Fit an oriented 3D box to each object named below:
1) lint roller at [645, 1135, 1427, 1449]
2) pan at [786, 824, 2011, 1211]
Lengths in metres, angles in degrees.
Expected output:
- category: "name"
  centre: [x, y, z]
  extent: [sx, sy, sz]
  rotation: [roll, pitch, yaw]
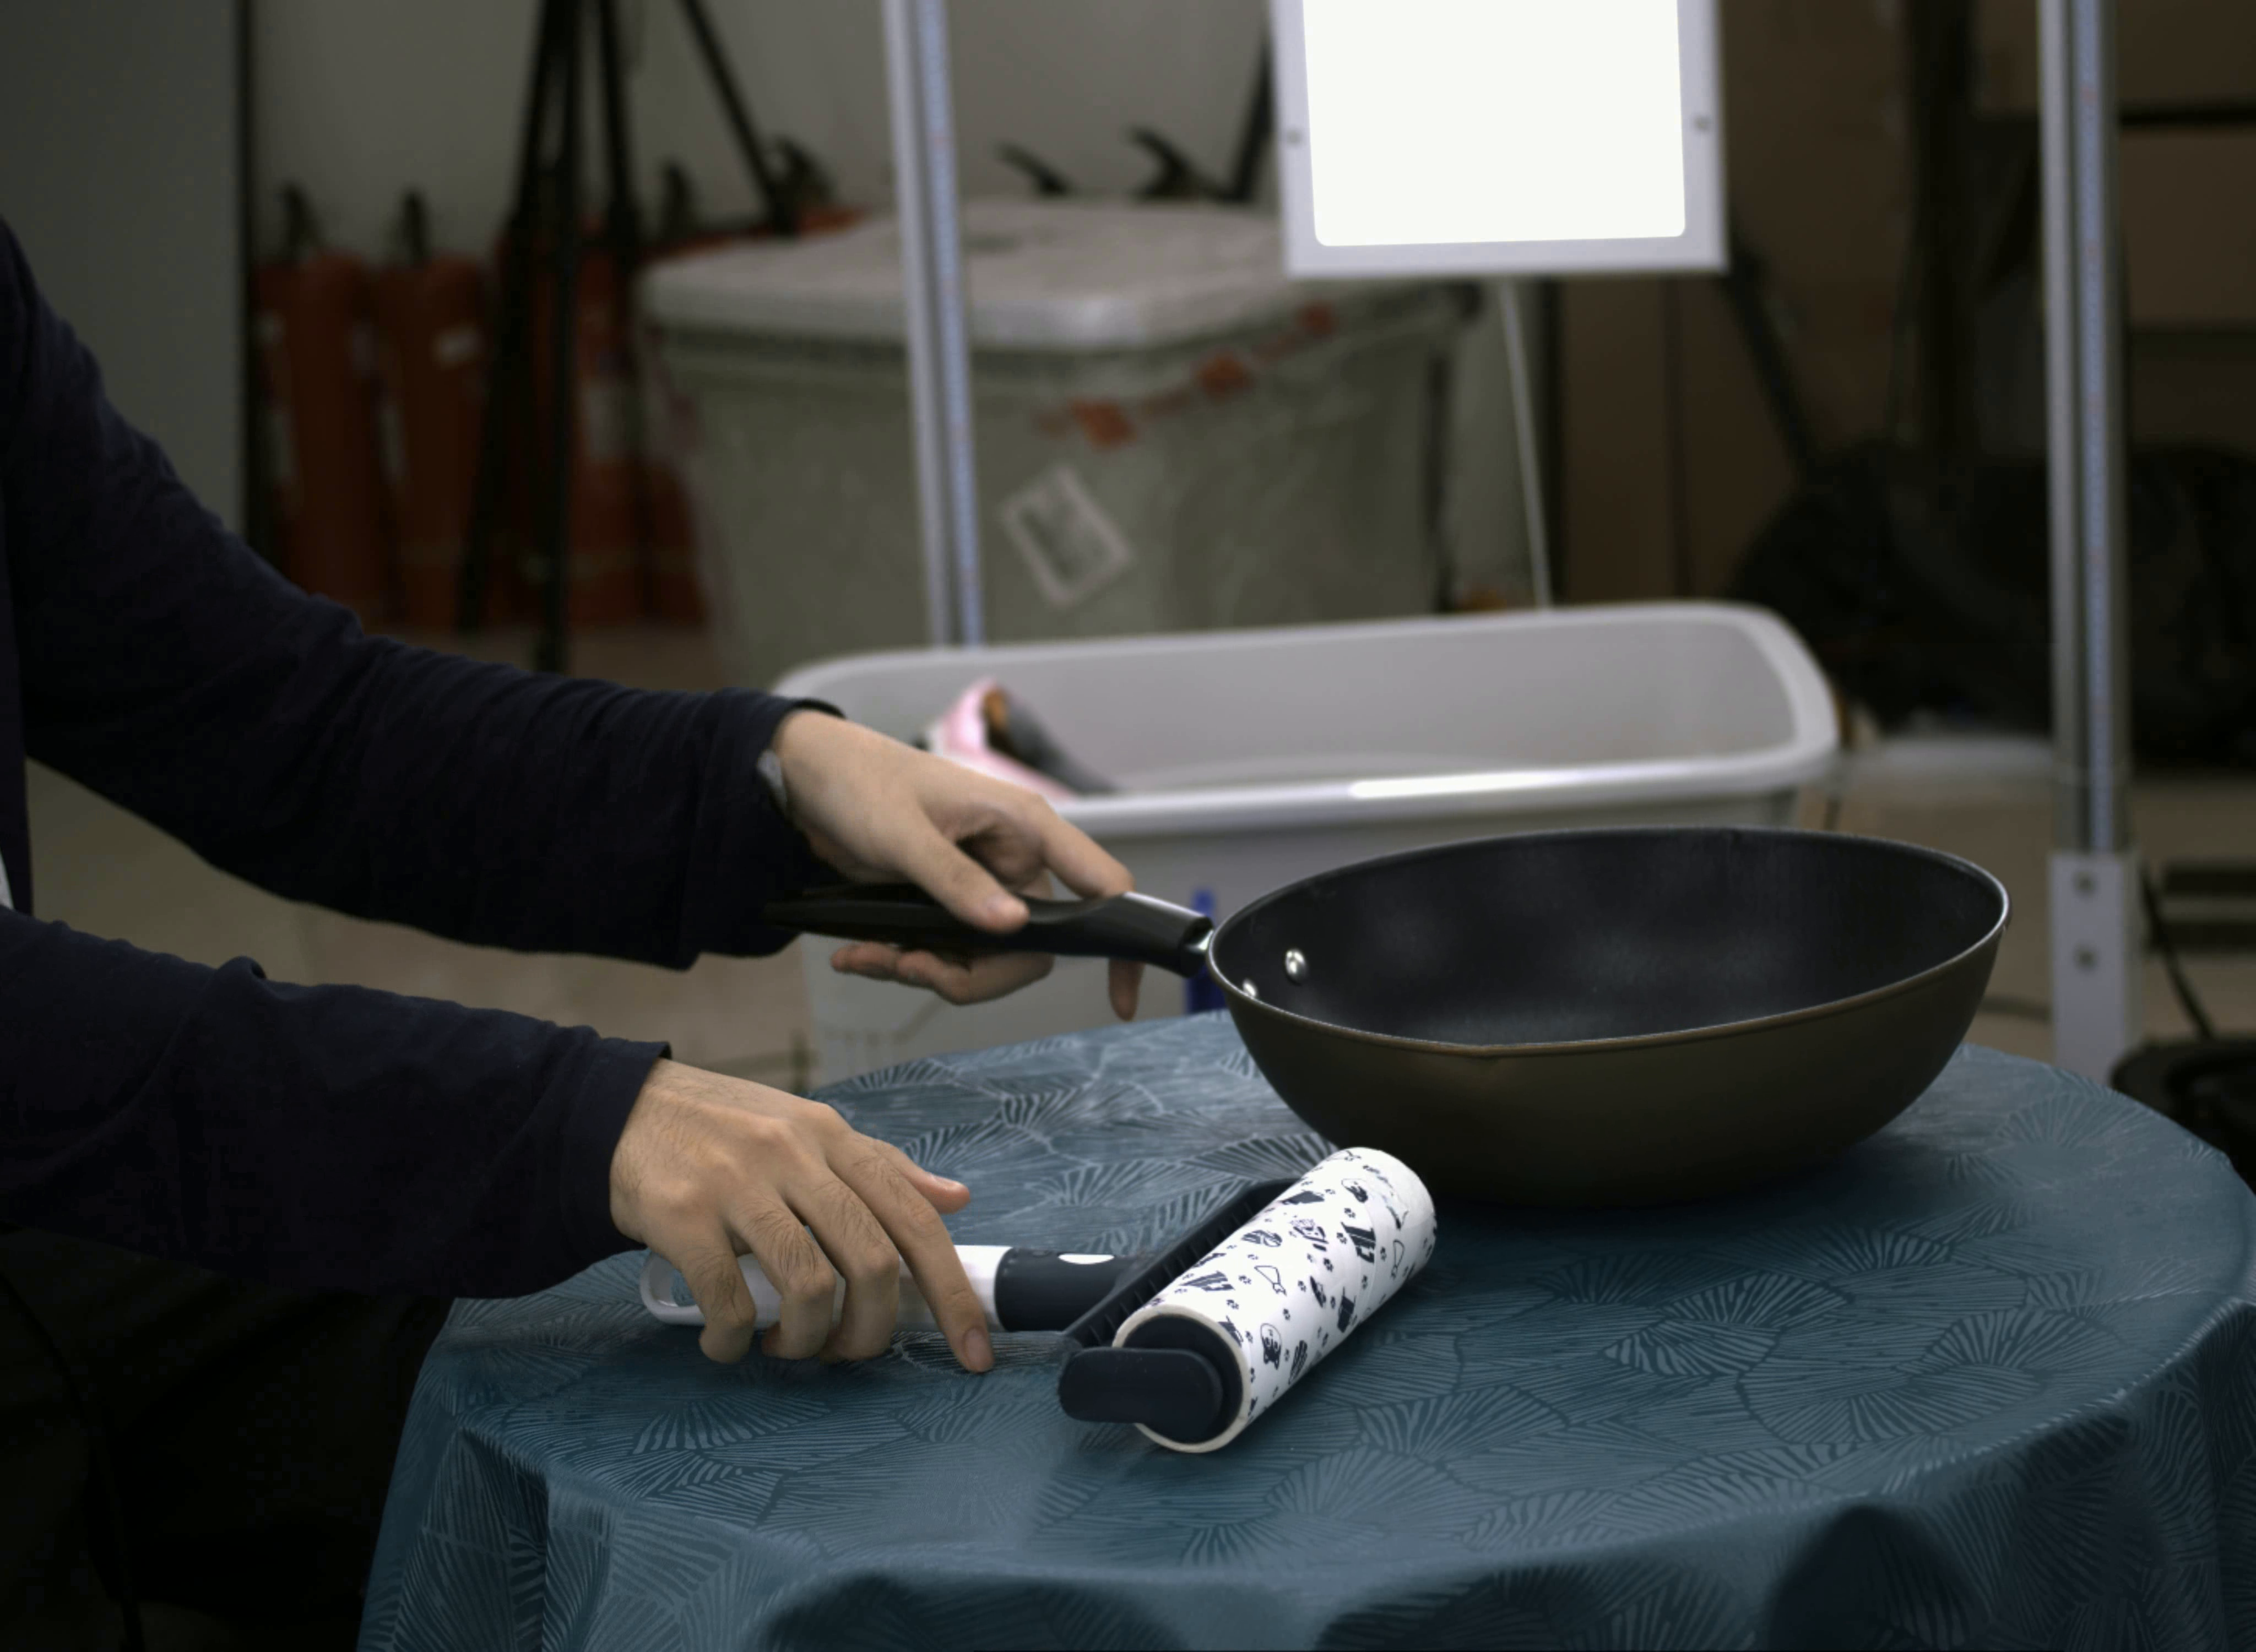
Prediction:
- category: "lint roller"
  centre: [-0.046, 0.147, 1.752]
  extent: [0.251, 0.050, 0.173]
  rotation: [-2, 15, 26]
- category: "pan"
  centre: [0.086, 0.068, 1.934]
  extent: [0.471, 0.087, 0.282]
  rotation: [1, 15, 27]
